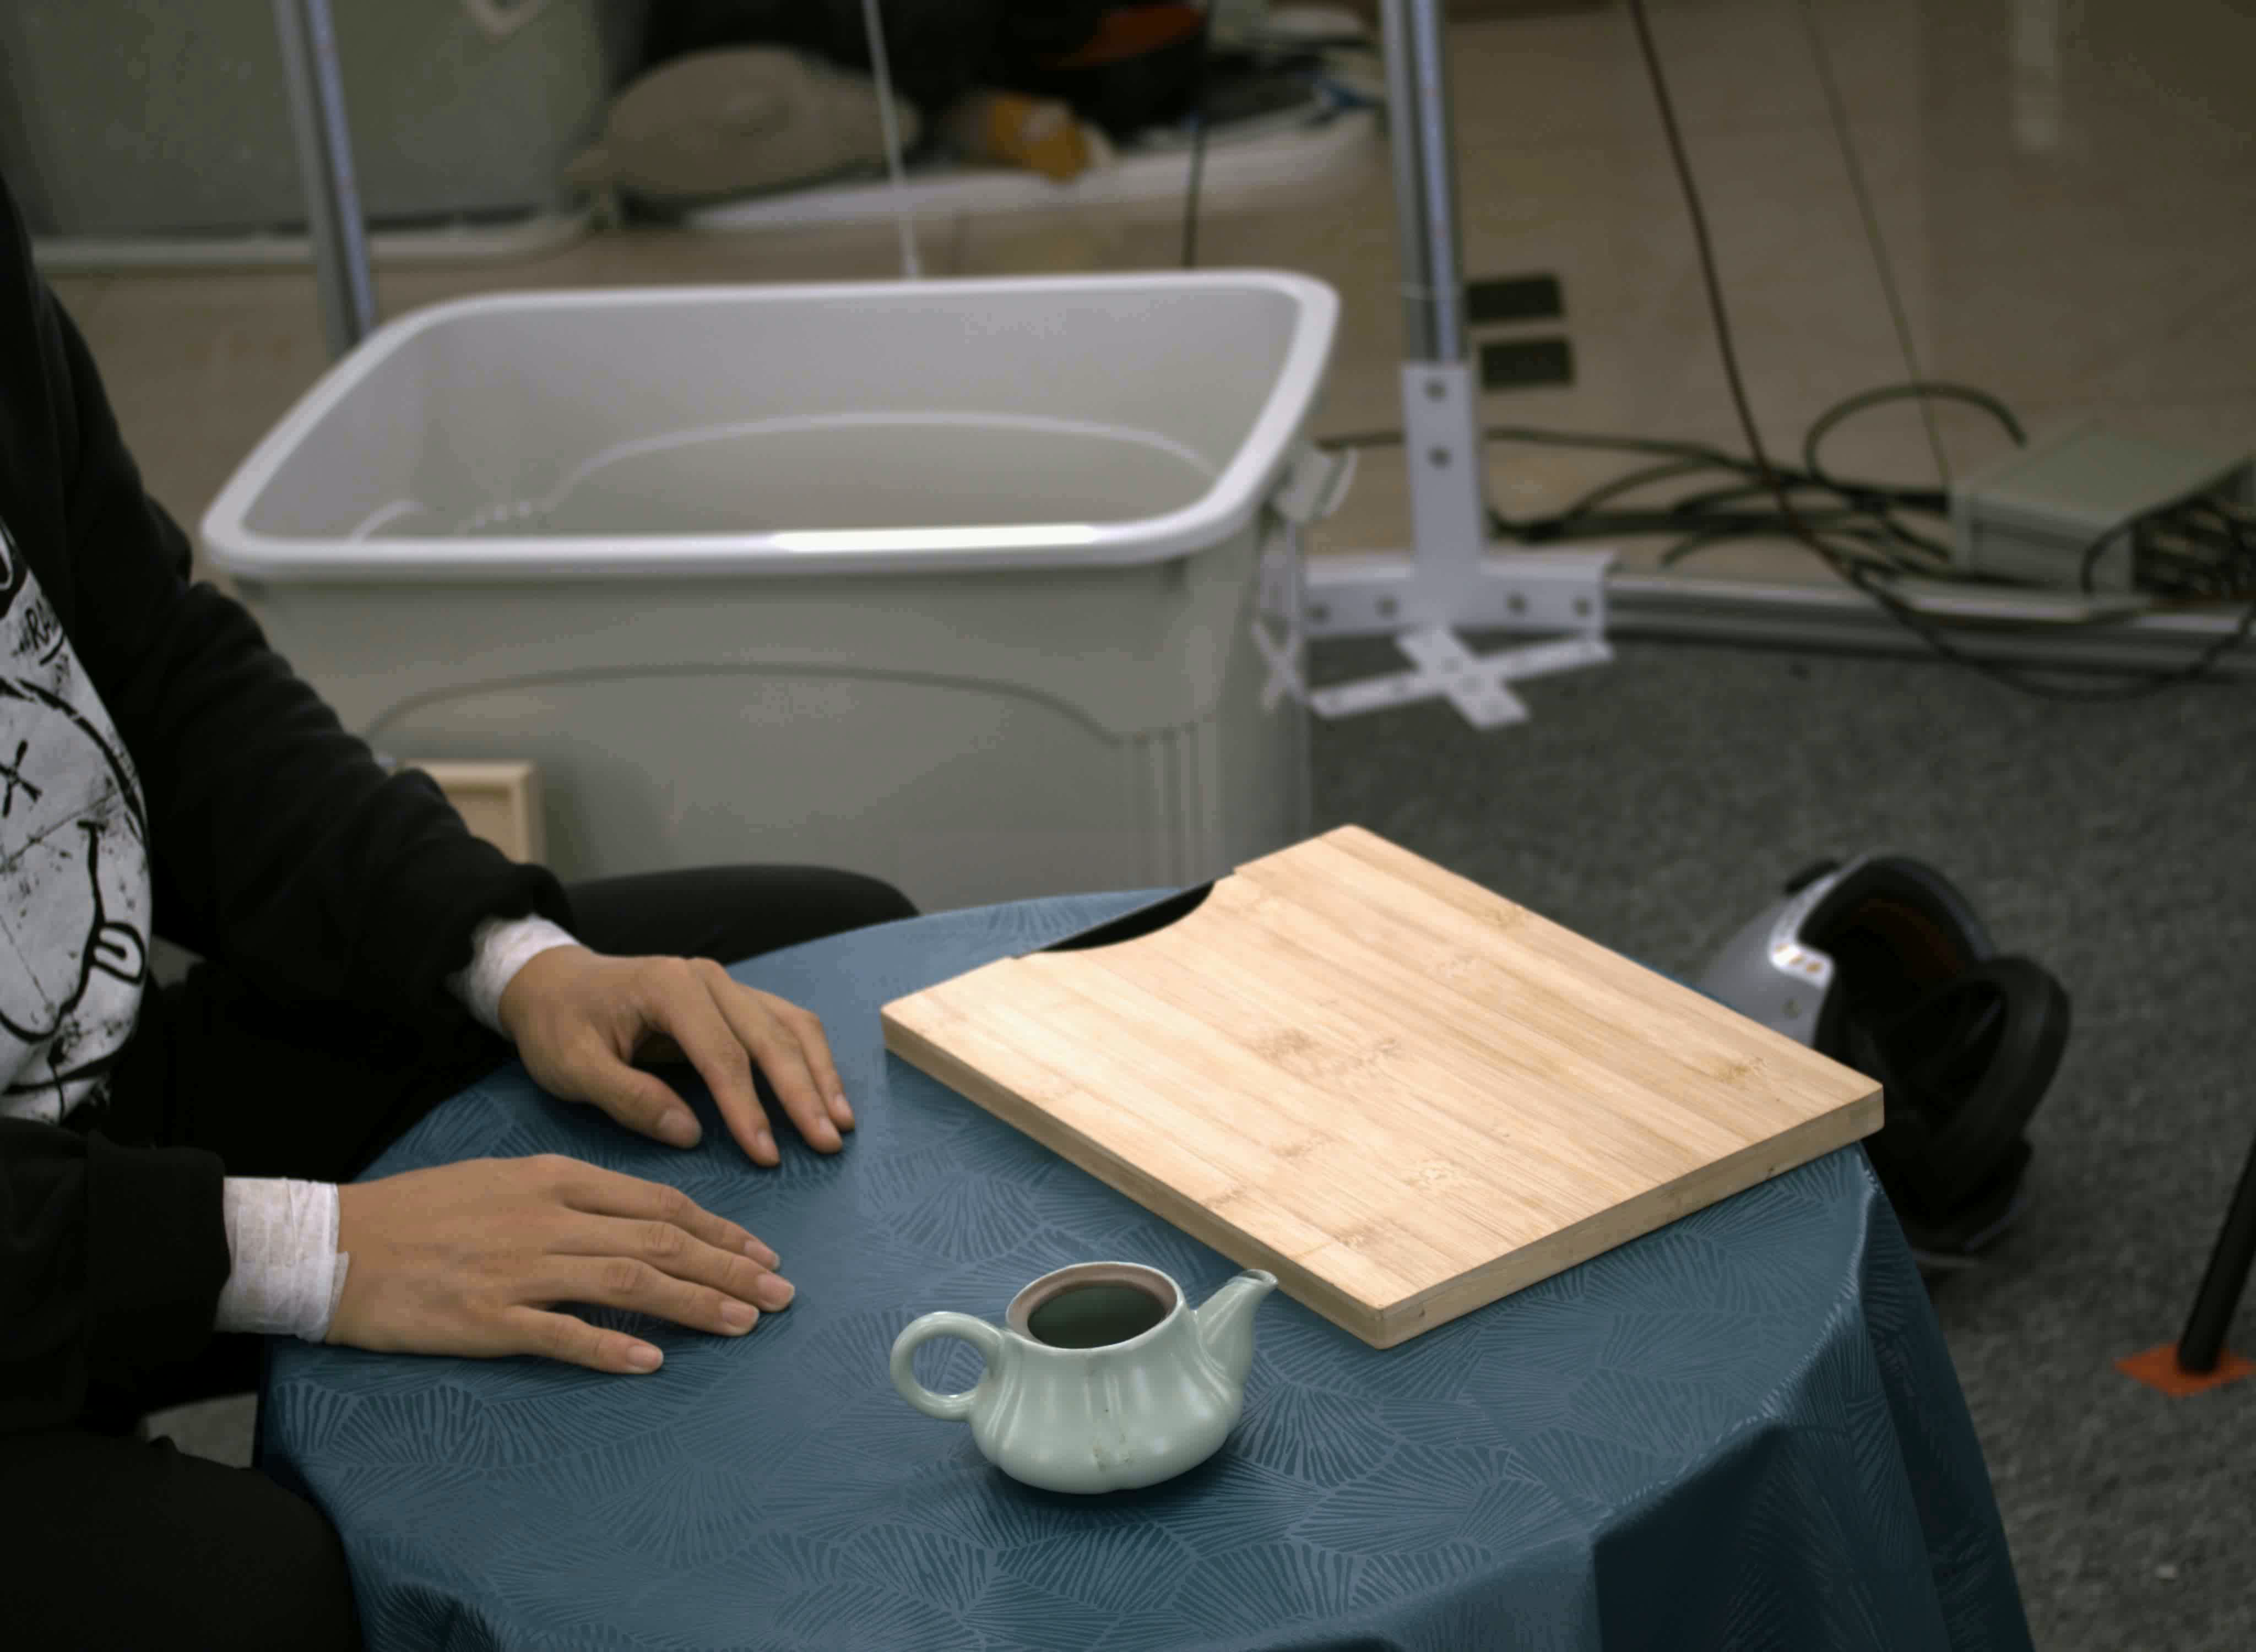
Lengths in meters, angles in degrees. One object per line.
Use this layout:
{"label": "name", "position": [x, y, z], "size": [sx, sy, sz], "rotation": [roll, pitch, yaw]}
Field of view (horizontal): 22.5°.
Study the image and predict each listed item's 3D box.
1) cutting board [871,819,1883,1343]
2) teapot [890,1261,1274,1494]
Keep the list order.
{"label": "cutting board", "position": [0.090, 0.092, 2.209], "size": [0.249, 0.024, 0.345], "rotation": [-21, 29, -29]}
{"label": "teapot", "position": [-0.014, 0.190, 1.971], "size": [0.136, 0.062, 0.095], "rotation": [-8, 27, -5]}
